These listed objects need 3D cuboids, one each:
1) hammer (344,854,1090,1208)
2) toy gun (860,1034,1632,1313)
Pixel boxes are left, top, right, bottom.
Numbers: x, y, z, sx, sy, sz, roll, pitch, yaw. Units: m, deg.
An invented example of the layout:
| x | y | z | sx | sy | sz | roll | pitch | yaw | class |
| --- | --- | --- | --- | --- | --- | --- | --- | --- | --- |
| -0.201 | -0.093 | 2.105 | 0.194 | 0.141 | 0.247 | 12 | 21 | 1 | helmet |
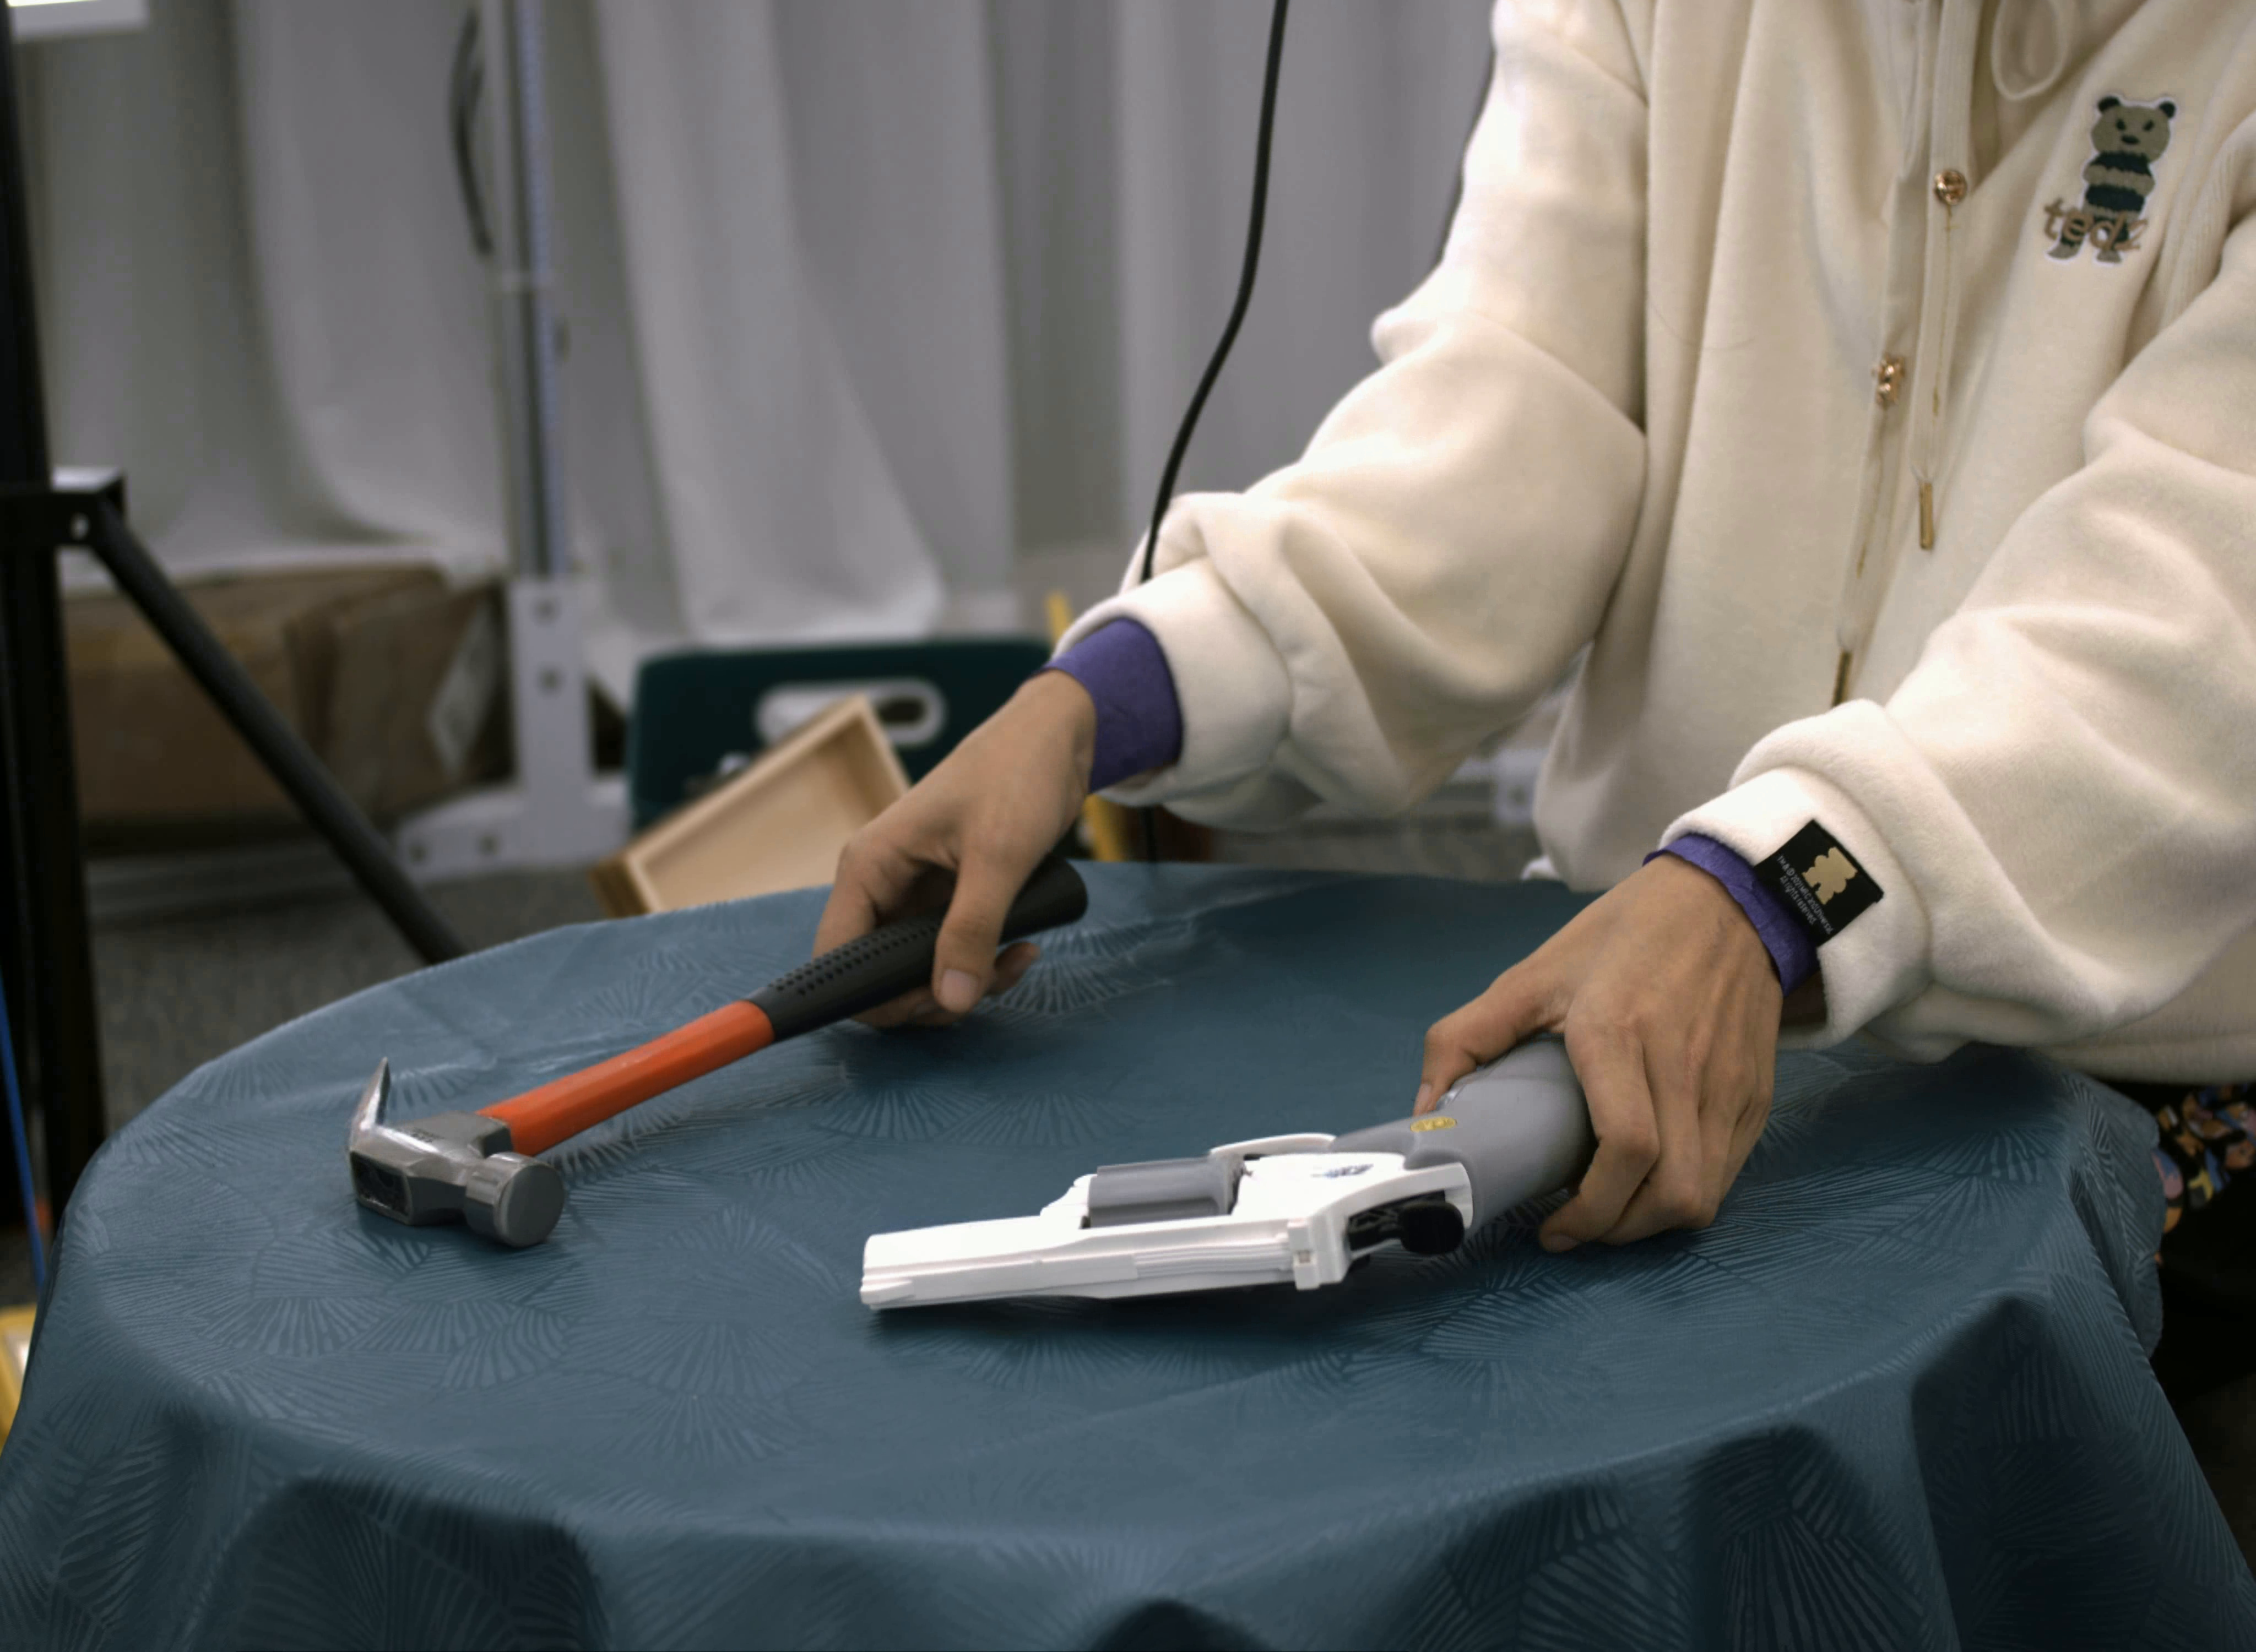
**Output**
| x | y | z | sx | sy | sz | roll | pitch | yaw | class |
| --- | --- | --- | --- | --- | --- | --- | --- | --- | --- |
| -0.121 | 0.061 | 1.648 | 0.271 | 0.026 | 0.113 | -22 | 14 | -37 | hammer |
| 0.036 | 0.101 | 1.493 | 0.210 | 0.039 | 0.141 | -5 | 15 | 11 | toy gun |
